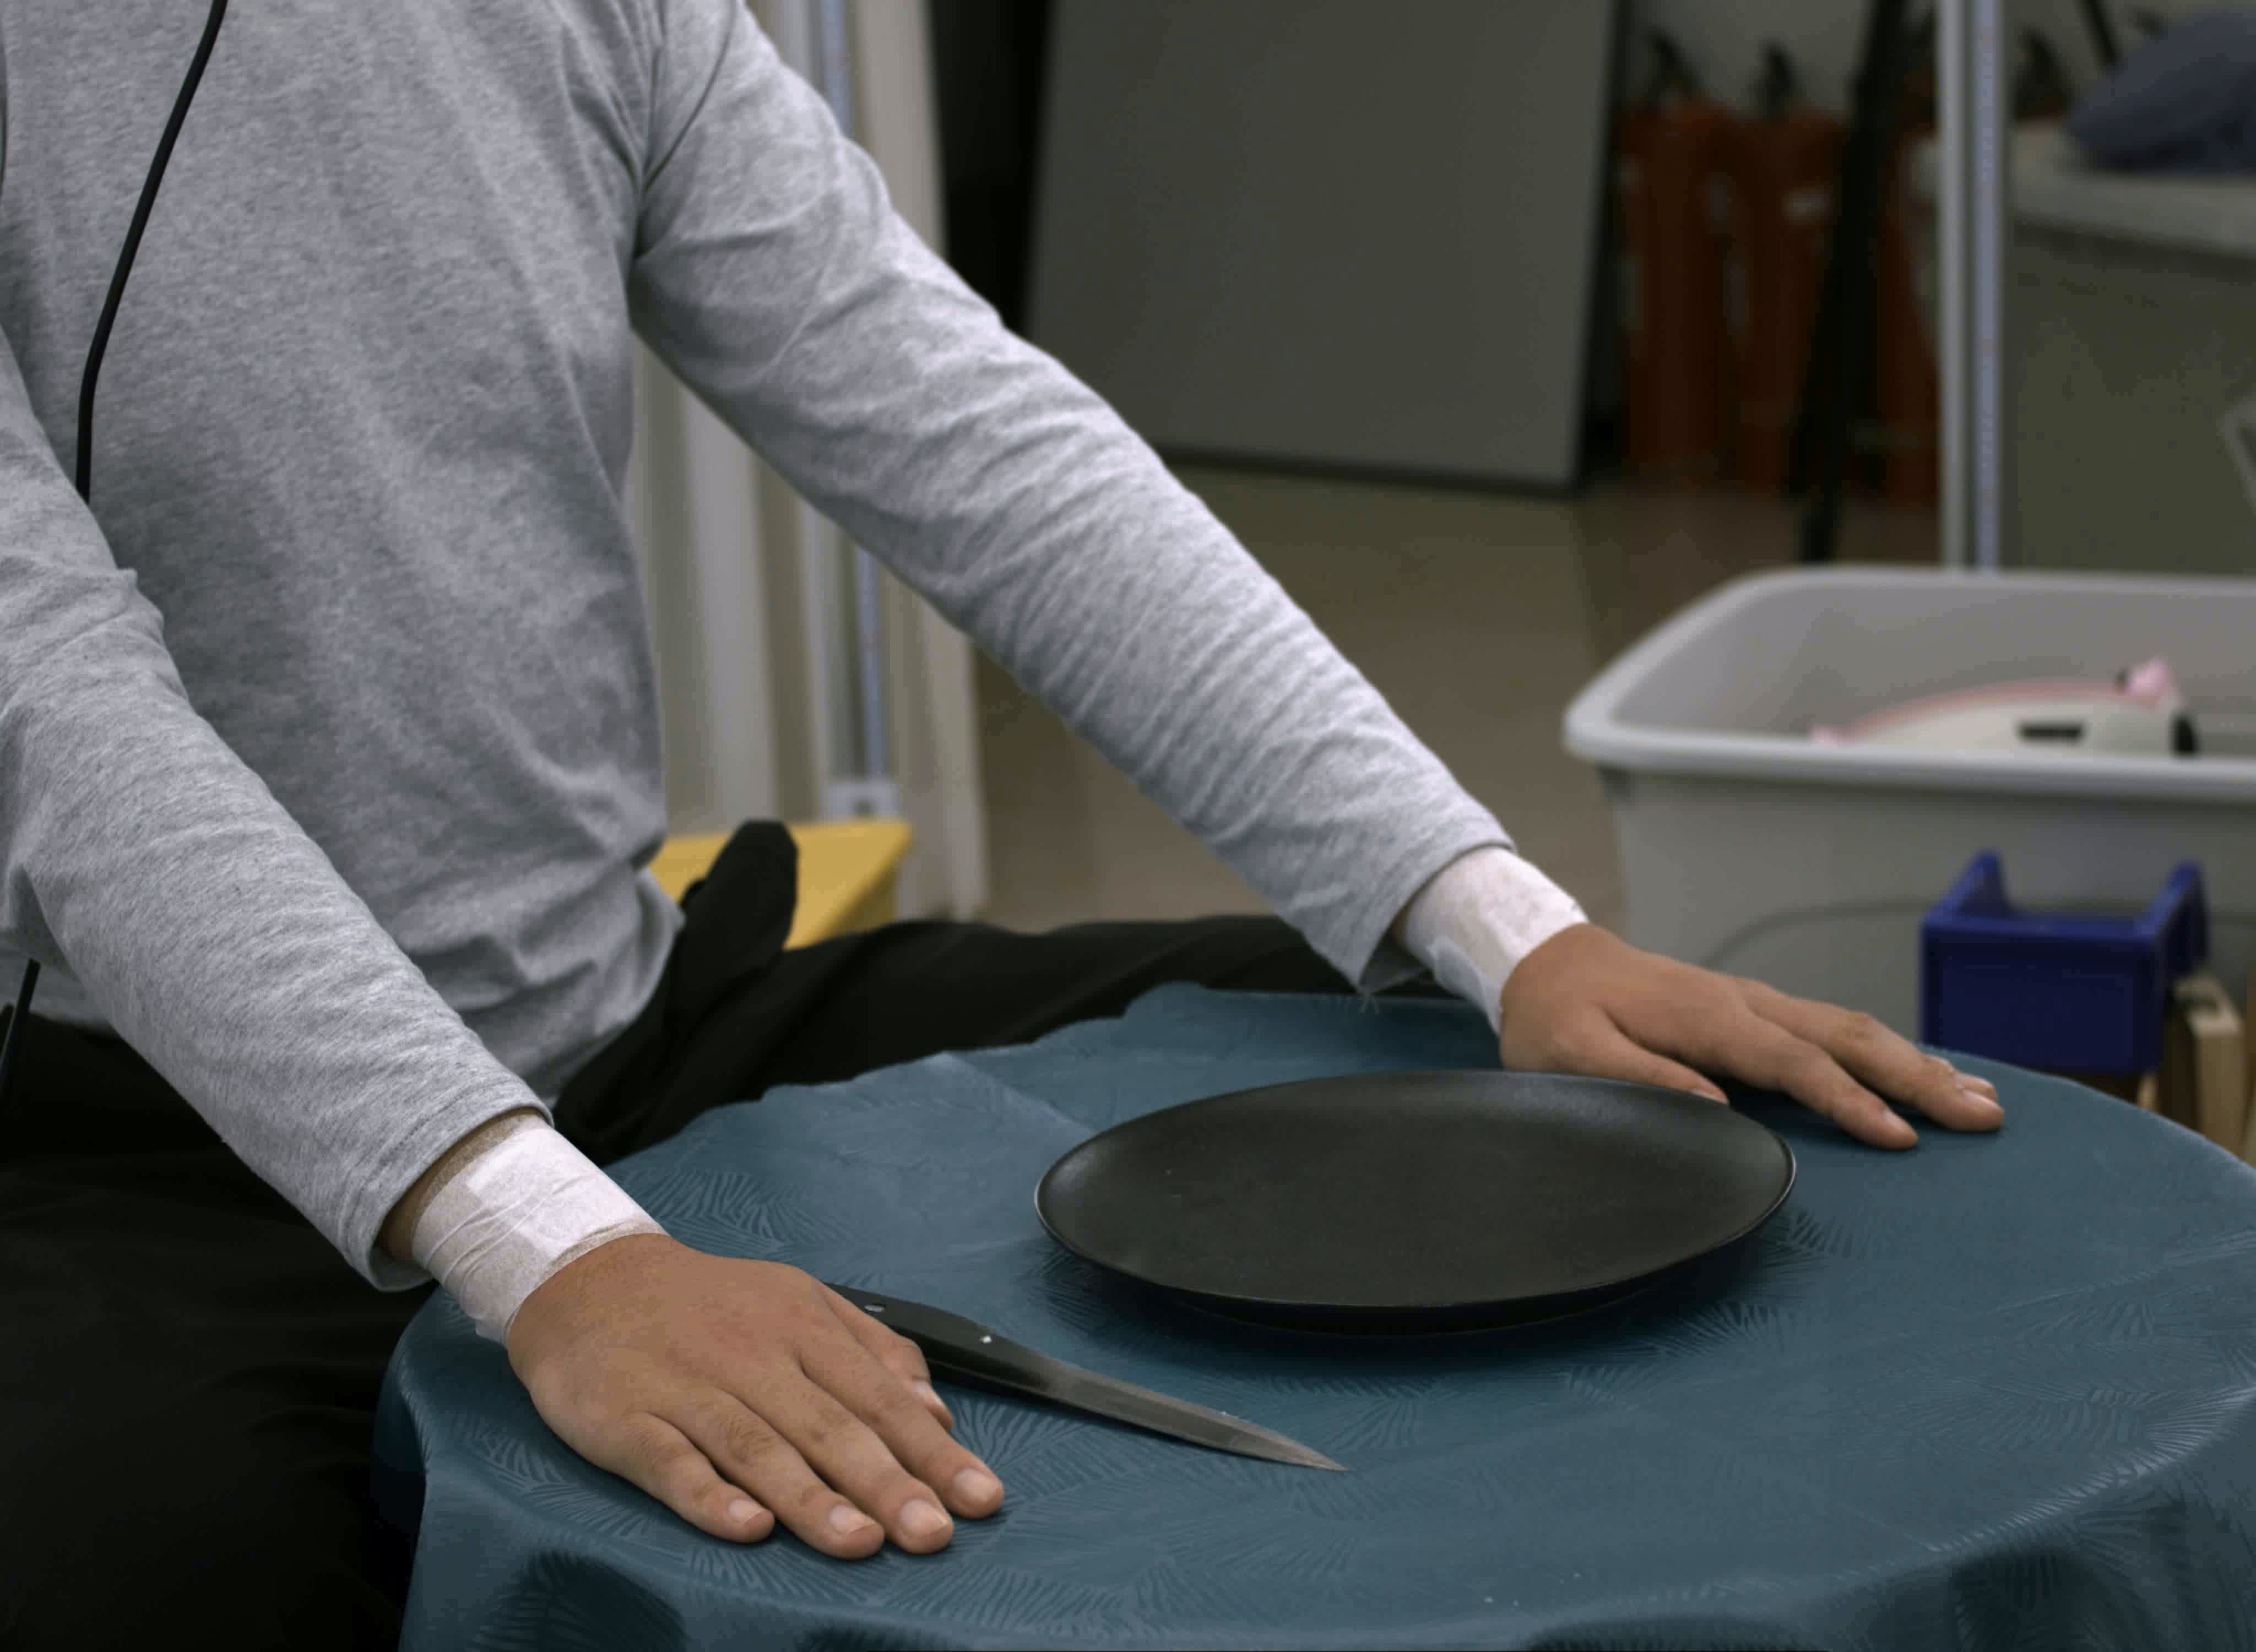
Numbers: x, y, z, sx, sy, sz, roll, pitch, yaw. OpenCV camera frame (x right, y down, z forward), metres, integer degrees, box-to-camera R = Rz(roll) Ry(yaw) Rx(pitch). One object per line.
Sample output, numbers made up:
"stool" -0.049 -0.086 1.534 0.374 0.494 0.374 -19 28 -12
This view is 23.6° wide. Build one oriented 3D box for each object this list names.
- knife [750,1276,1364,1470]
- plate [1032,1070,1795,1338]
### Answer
"knife" -0.026 0.163 1.586 0.240 0.016 0.024 11 20 40
"plate" 0.090 0.121 1.700 0.241 0.024 0.245 -4 13 0
